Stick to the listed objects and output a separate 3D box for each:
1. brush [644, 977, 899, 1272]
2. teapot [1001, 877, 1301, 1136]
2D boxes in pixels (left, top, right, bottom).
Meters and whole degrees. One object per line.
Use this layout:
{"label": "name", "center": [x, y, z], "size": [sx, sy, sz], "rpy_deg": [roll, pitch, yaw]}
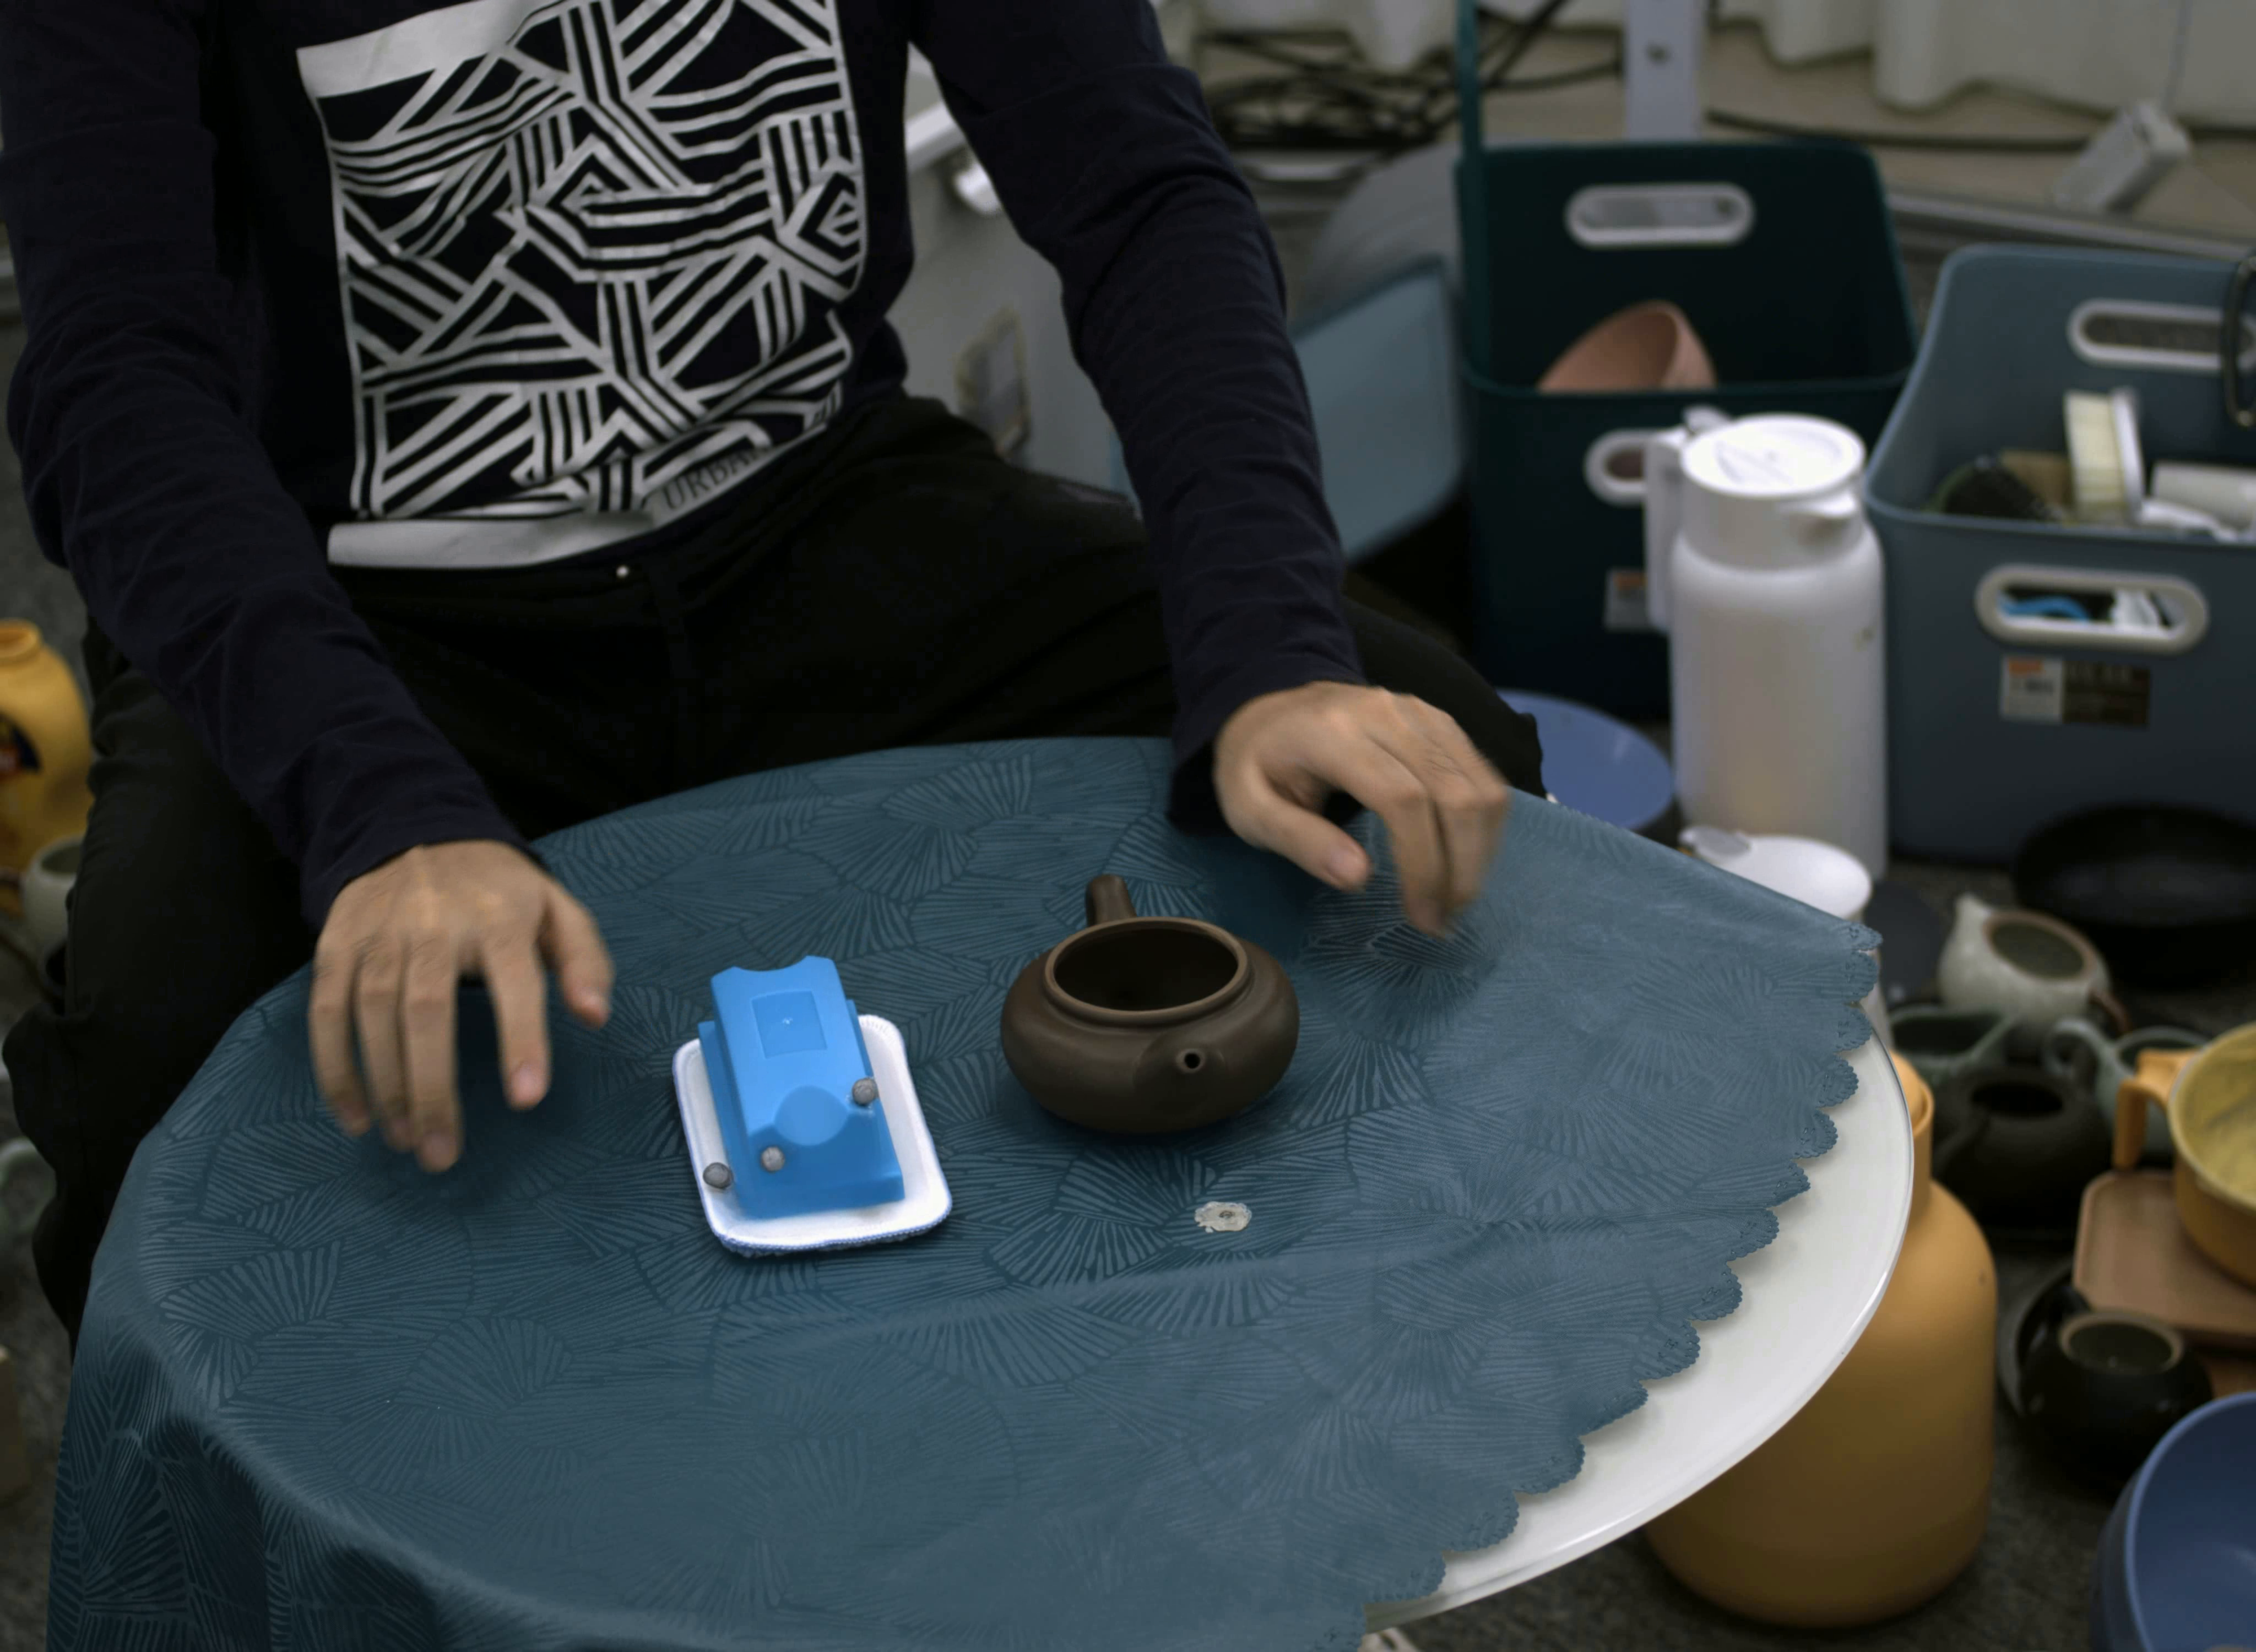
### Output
{"label": "brush", "center": [-0.118, 0.096, 1.883], "size": [0.083, 0.055, 0.146], "rpy_deg": [1, 28, -9]}
{"label": "teapot", "center": [0.006, 0.065, 1.912], "size": [0.103, 0.053, 0.155], "rpy_deg": [-10, 28, -15]}
